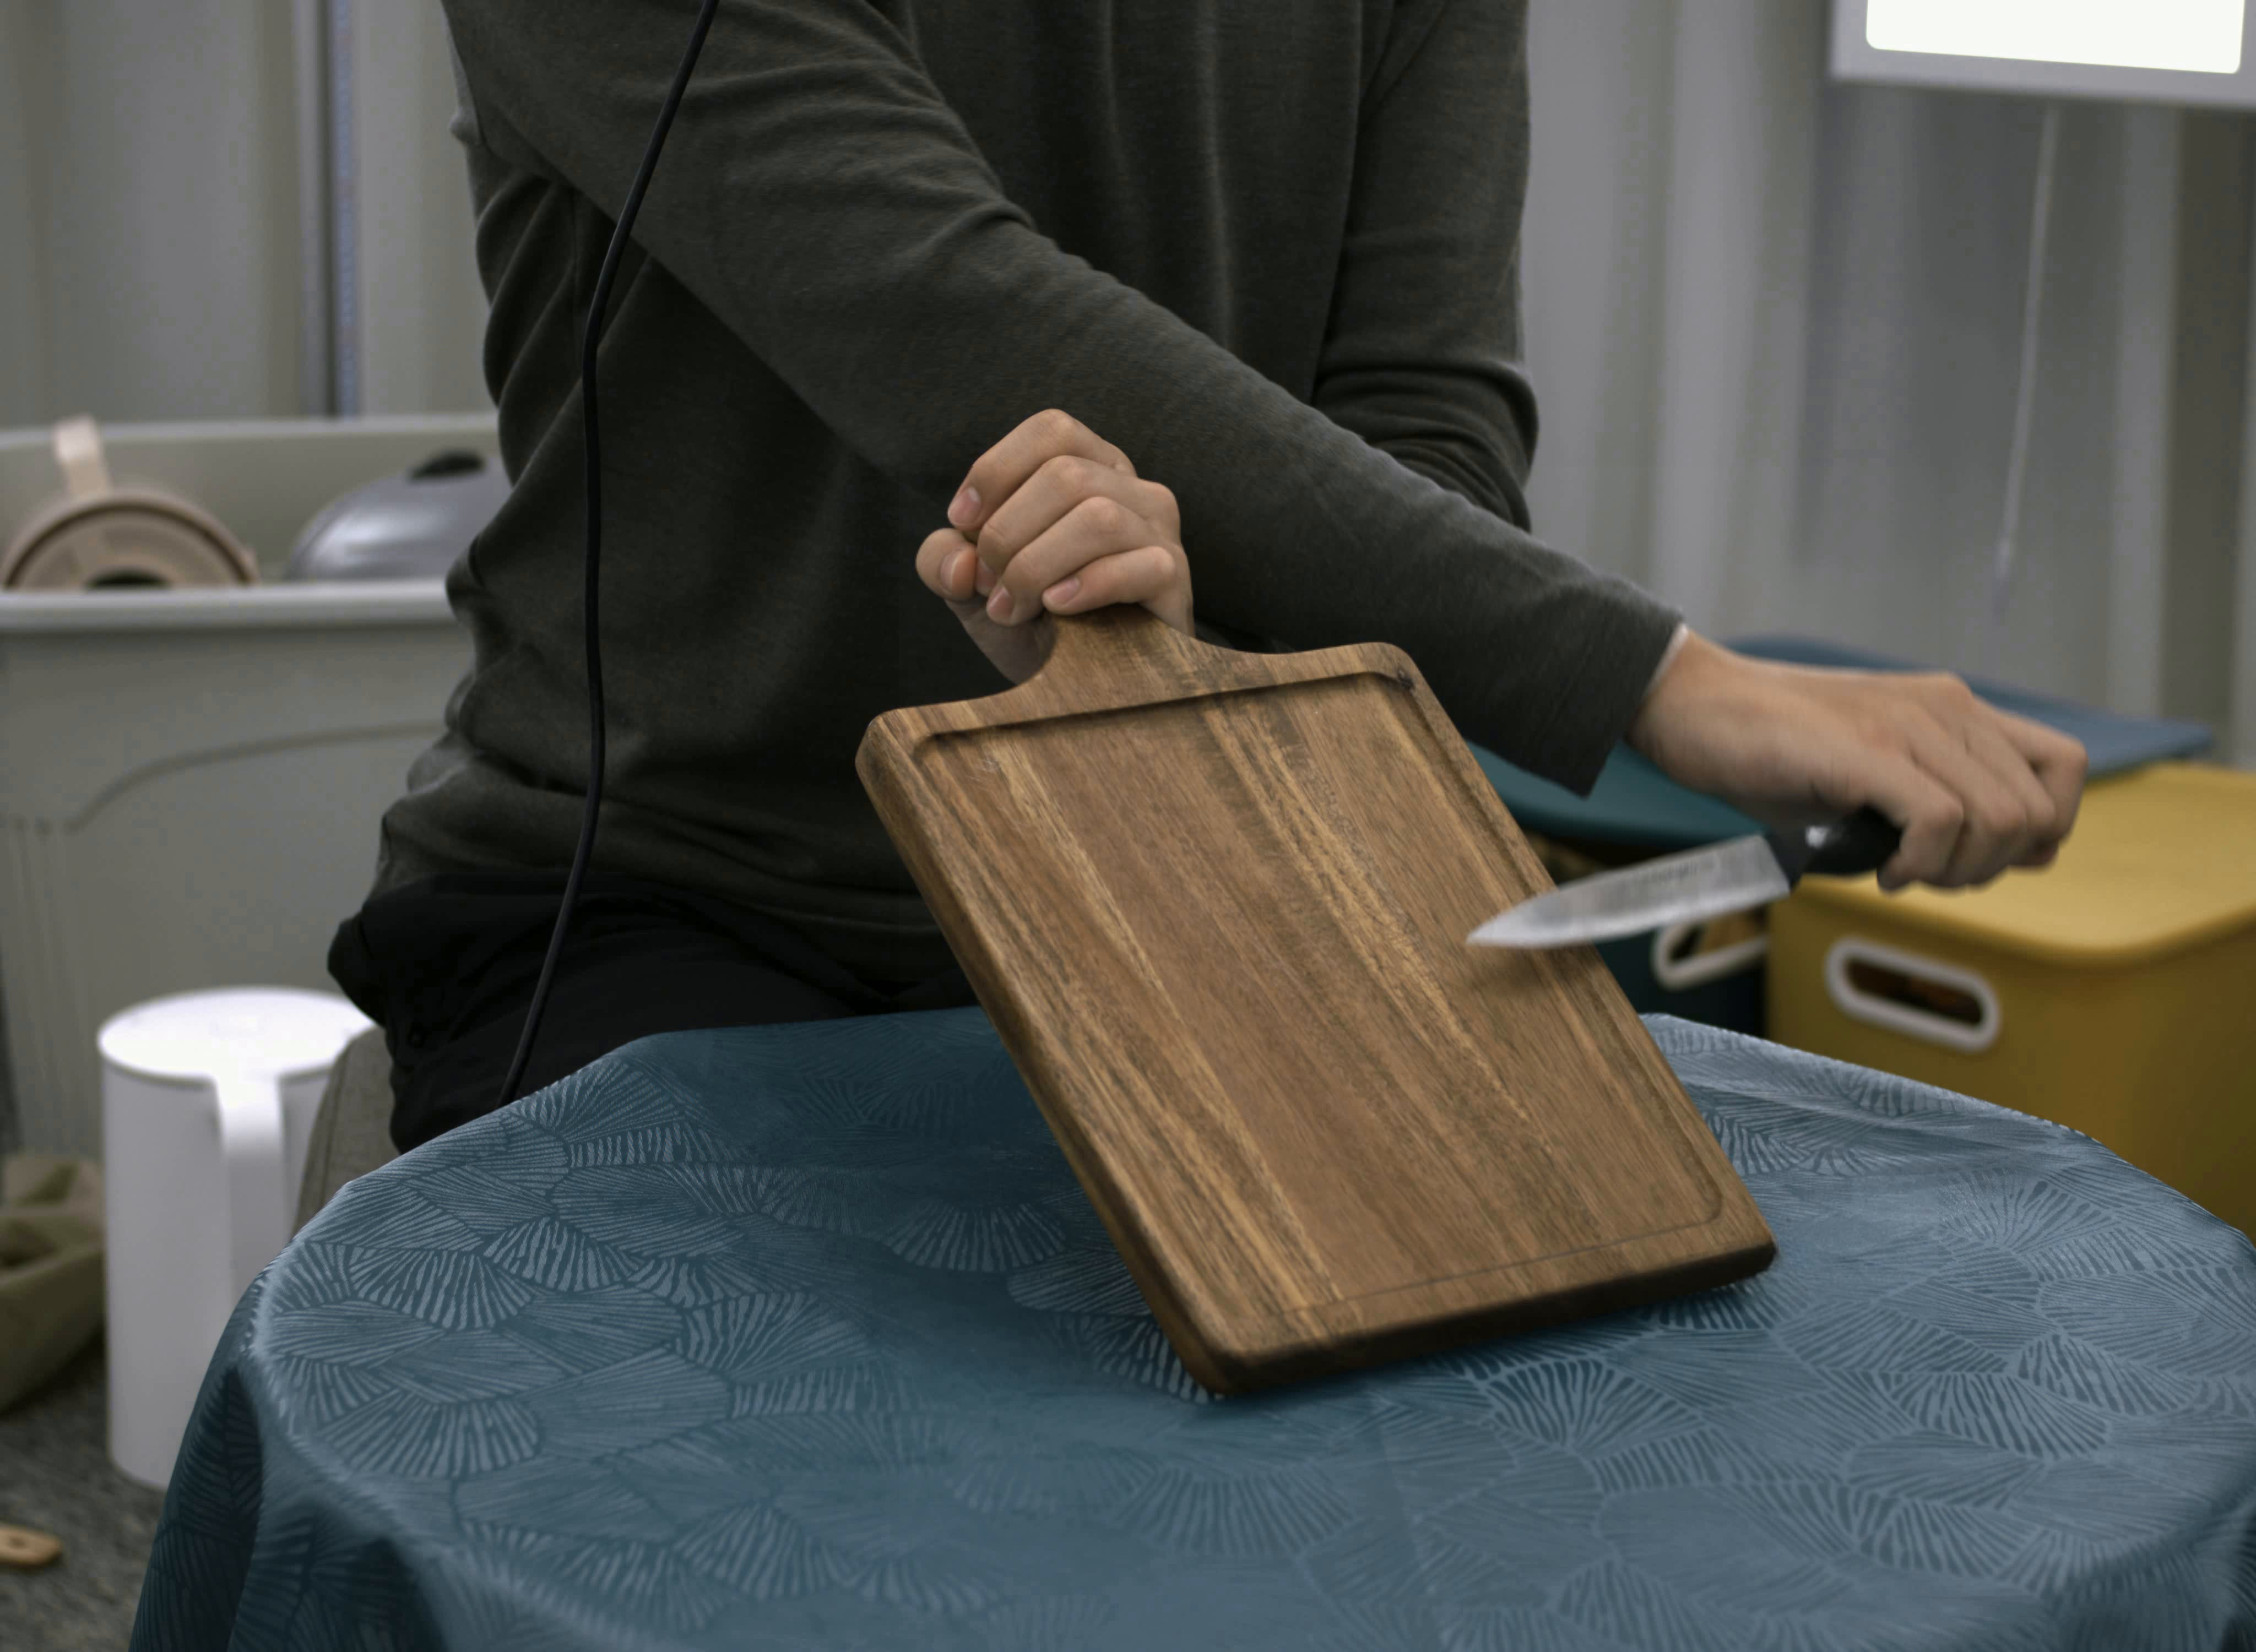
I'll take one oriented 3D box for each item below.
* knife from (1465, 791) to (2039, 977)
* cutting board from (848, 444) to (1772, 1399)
[{"bbox_3d":[0.193,0.018,1.631,0.239,0.016,0.024,-13,61,-35],"label":"knife"},{"bbox_3d":[0.032,0.013,1.587,0.202,0.023,0.348,-9,53,-31],"label":"cutting board"}]
